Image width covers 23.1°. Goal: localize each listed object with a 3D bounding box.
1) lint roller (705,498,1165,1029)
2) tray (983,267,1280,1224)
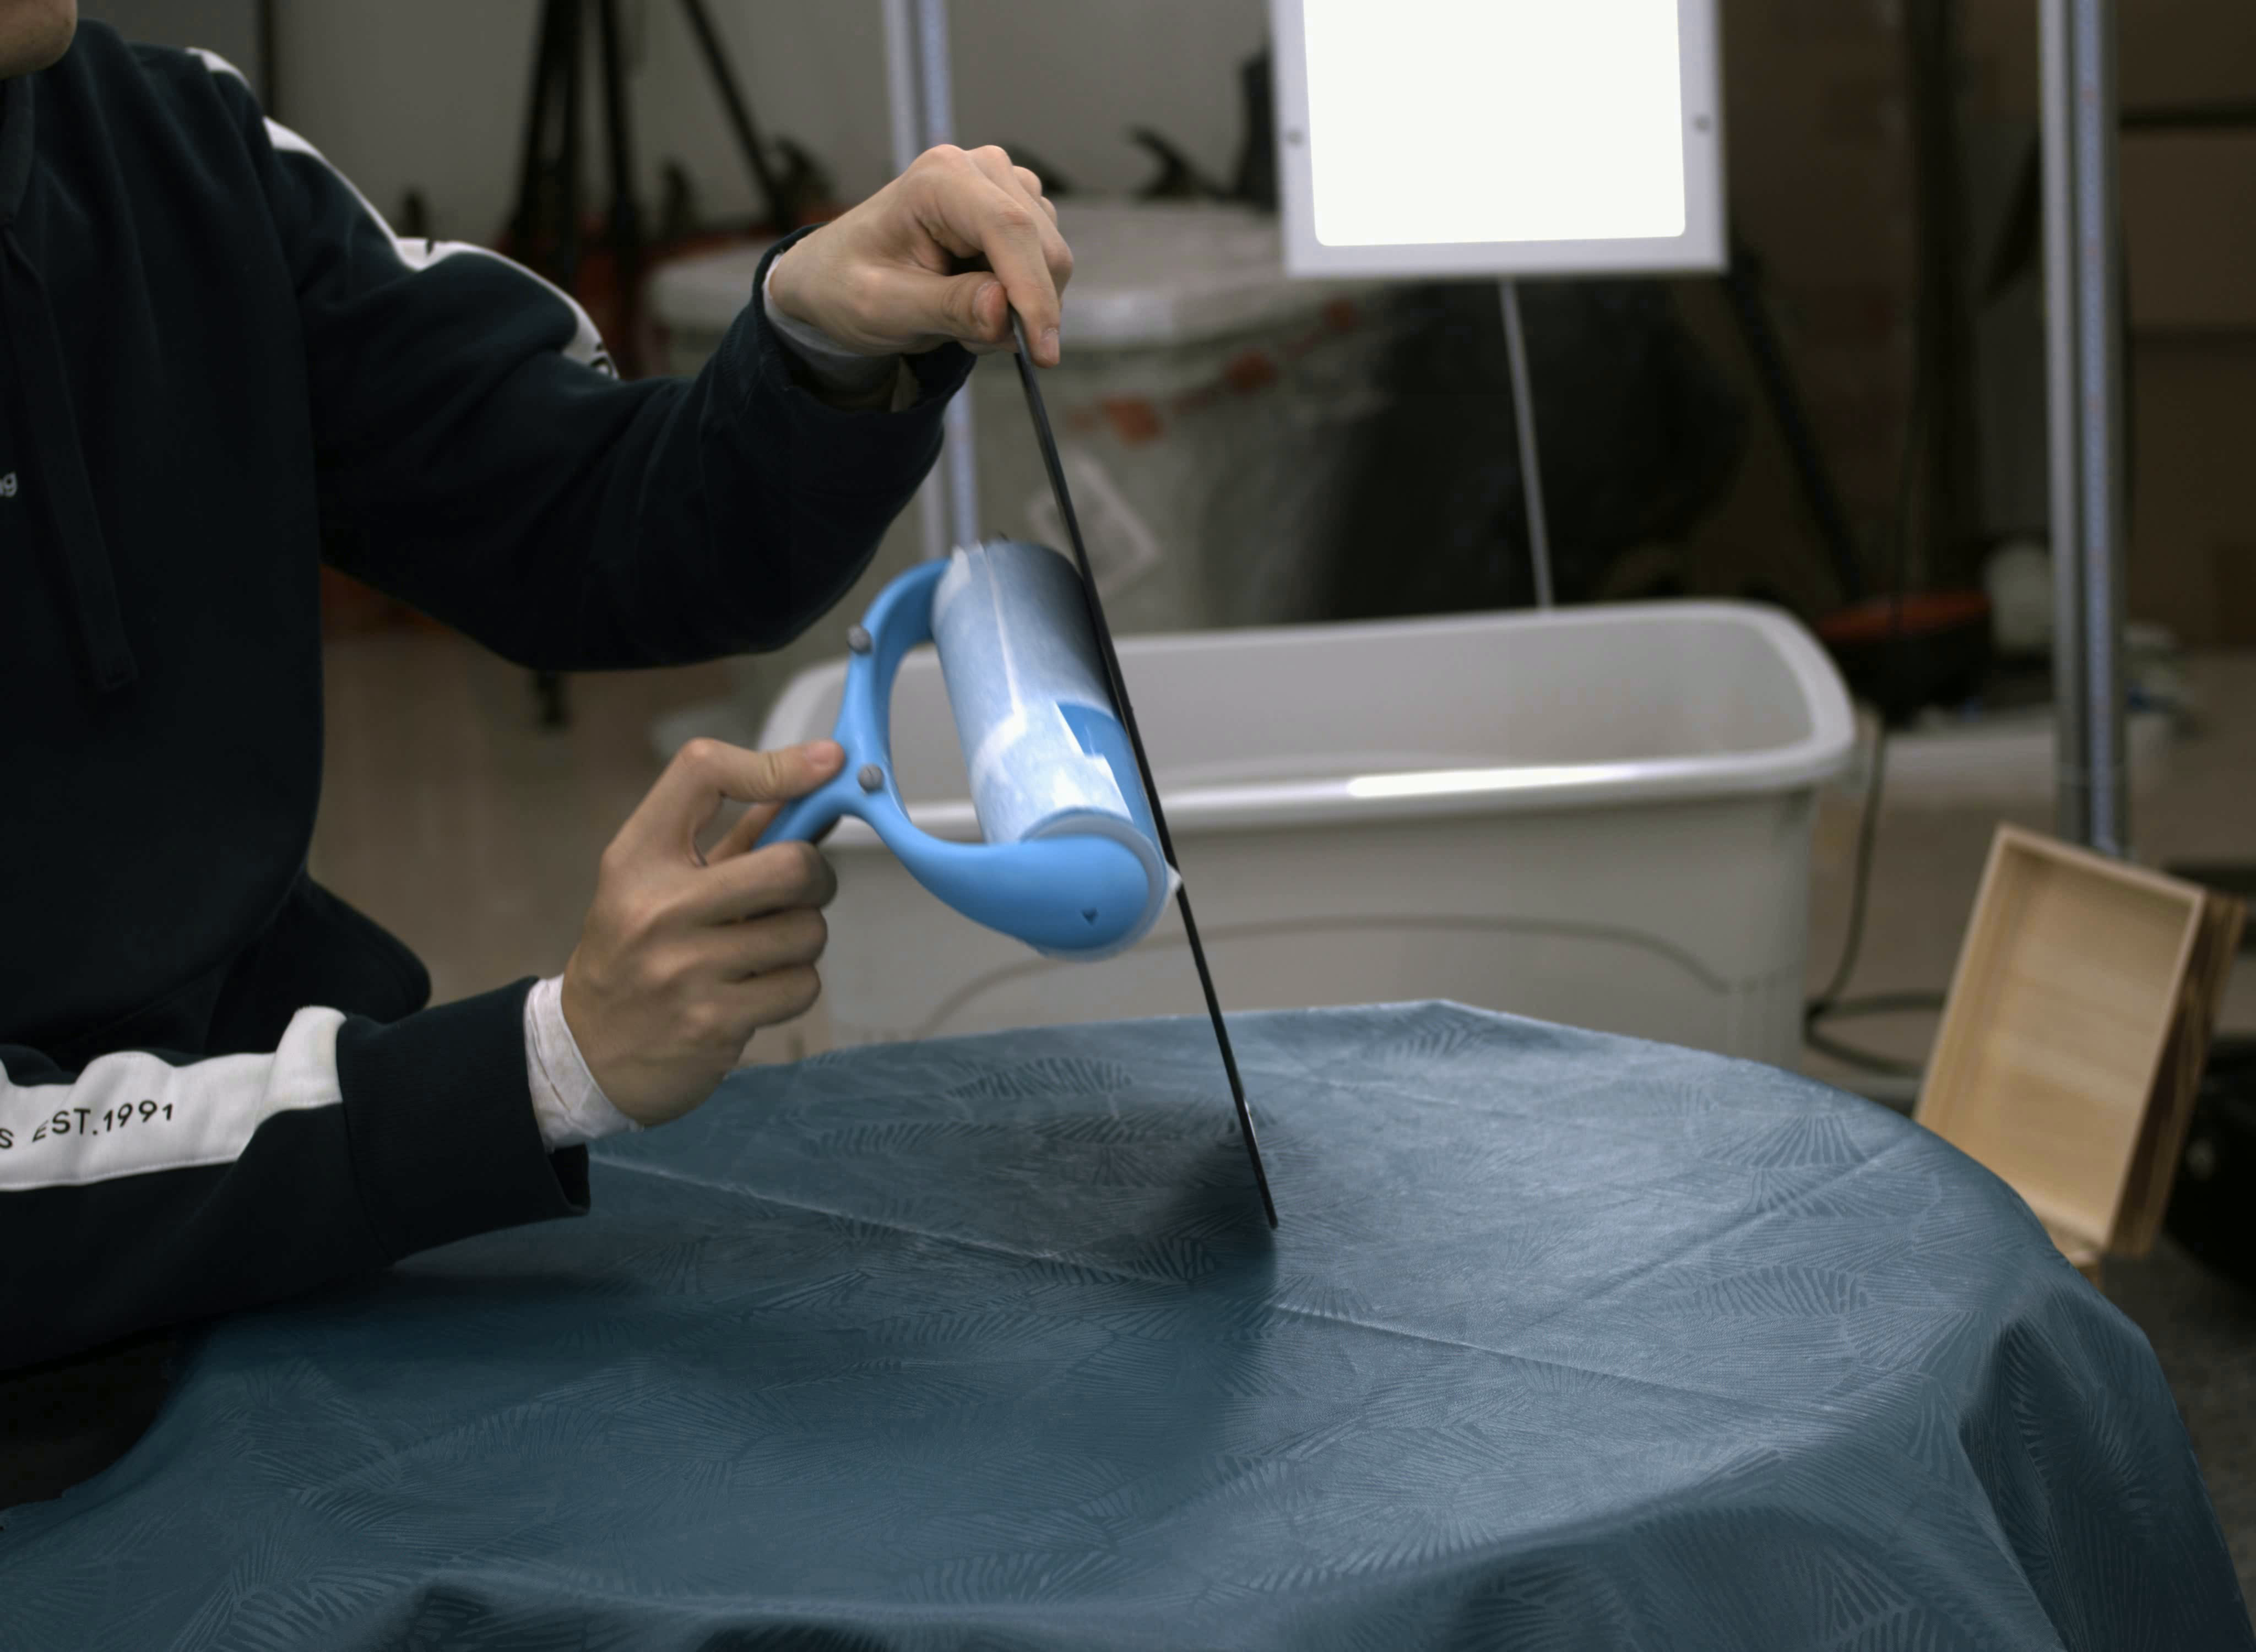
[{"bbox_3d":[-0.079,-0.005,1.774,0.181,0.067,0.230,-36,32,10],"label":"lint roller"},{"bbox_3d":[0.002,-0.032,1.859,0.010,0.326,0.211,-17,11,0],"label":"tray"}]
